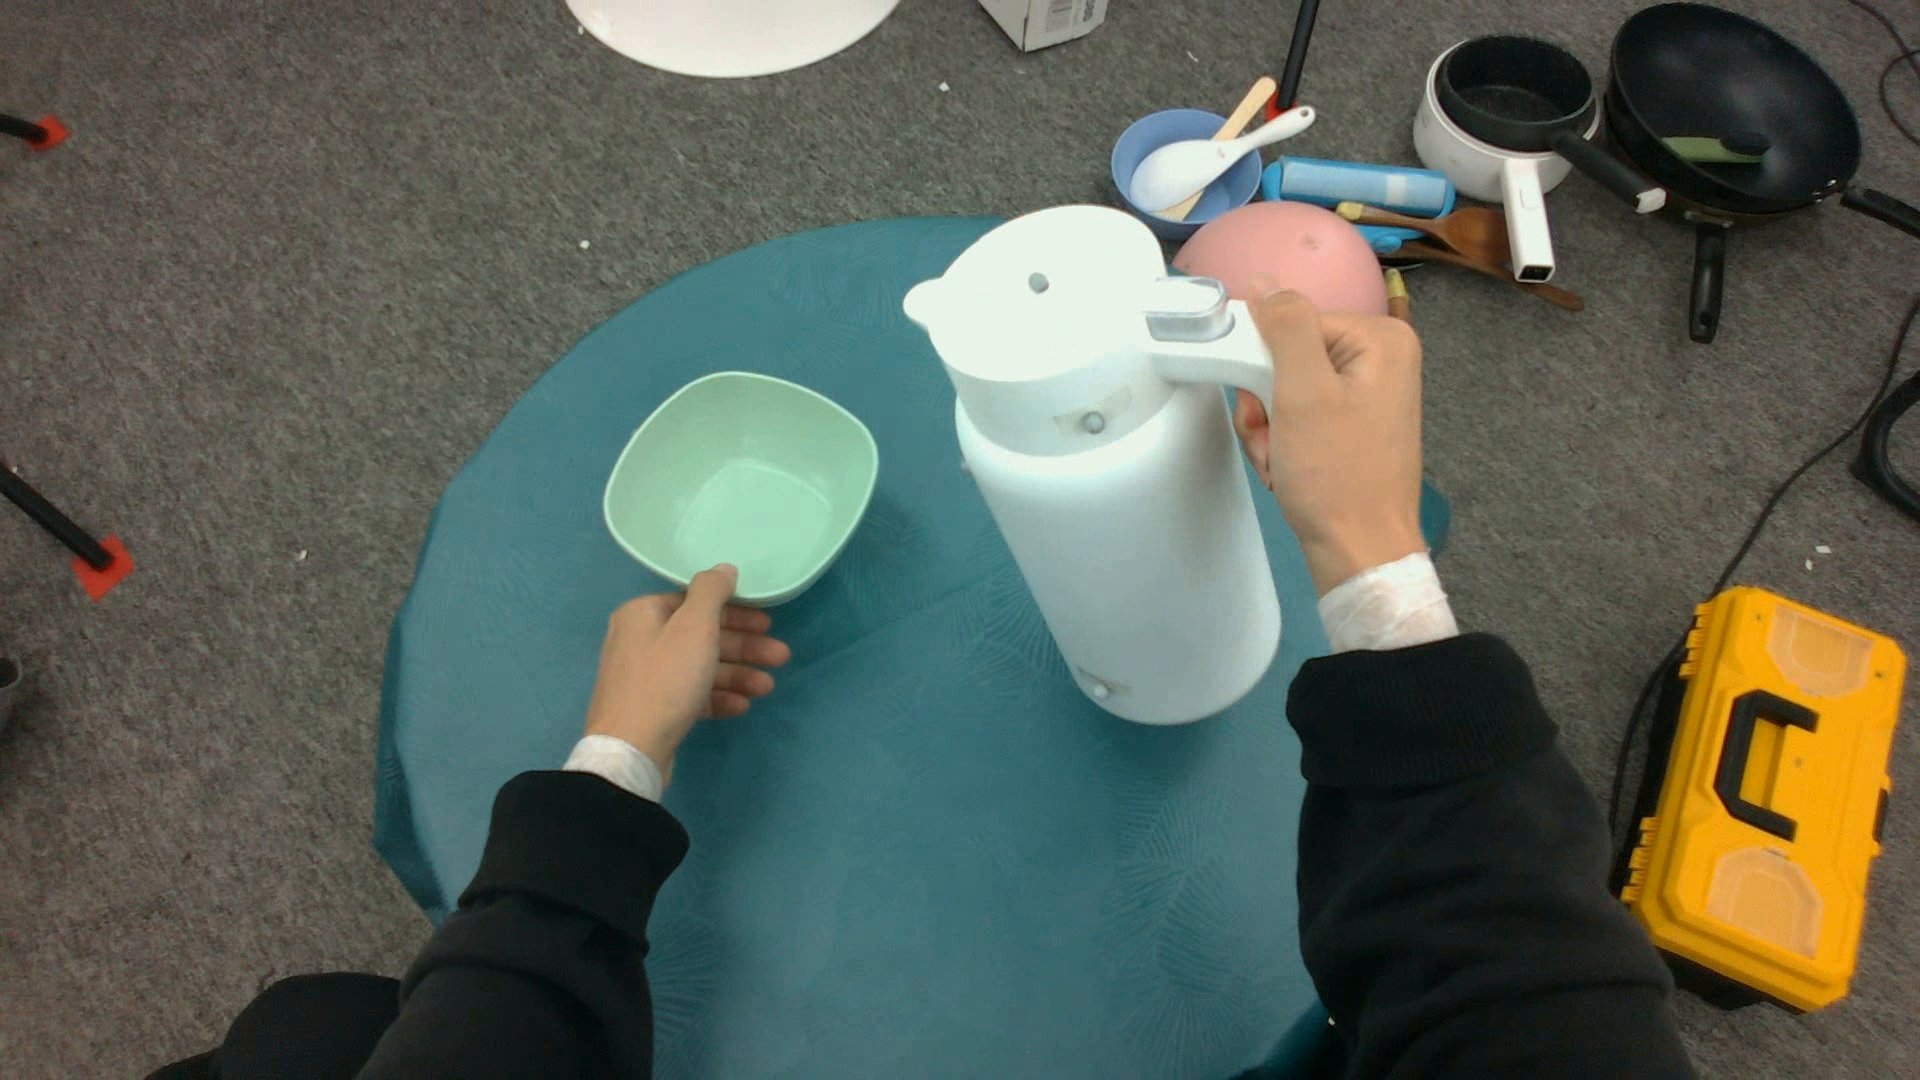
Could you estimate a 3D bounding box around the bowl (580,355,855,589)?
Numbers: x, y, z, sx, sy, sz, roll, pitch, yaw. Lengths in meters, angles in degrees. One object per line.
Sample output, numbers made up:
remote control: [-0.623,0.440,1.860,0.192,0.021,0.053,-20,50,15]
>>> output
bowl: [-0.132,-0.029,0.774,0.151,0.058,0.152,1,59,-1]

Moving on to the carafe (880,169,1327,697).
carafe: [0.082,-0.037,0.639,0.172,0.268,0.124,8,56,27]
